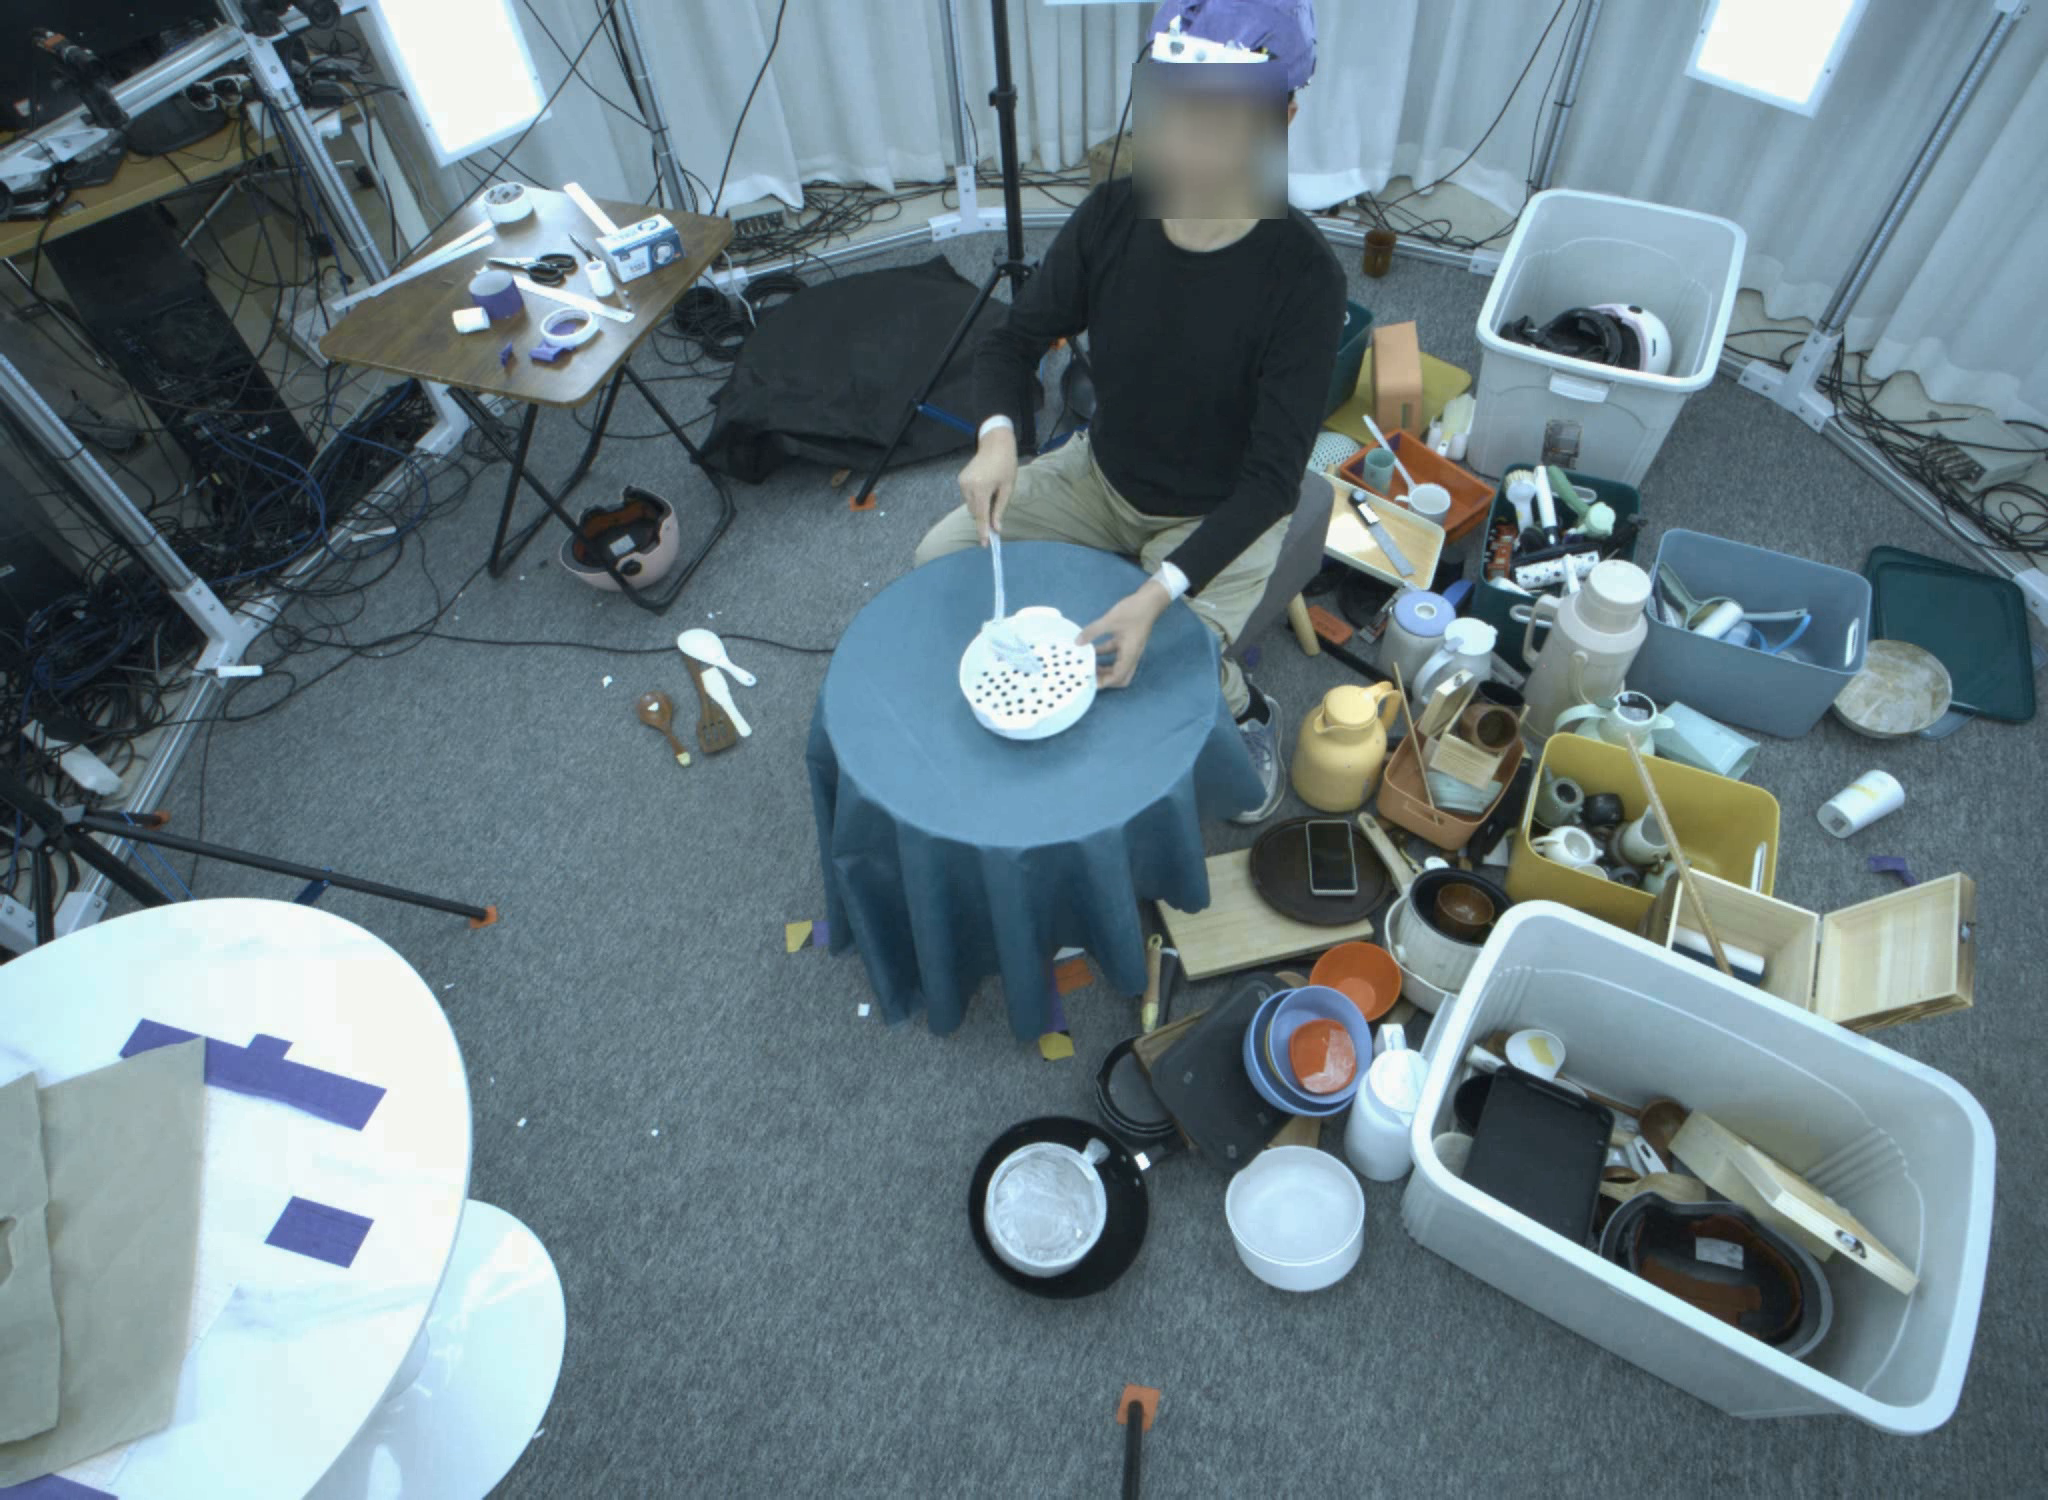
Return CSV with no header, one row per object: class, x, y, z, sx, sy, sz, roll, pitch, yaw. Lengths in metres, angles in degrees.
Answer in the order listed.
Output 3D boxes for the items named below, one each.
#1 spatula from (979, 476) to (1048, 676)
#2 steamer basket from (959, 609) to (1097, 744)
spatula,-0.033,-0.267,1.804,0.101,0.044,0.361,12,62,-43
steamer basket,0.008,-0.103,1.809,0.200,0.070,0.229,5,56,12
